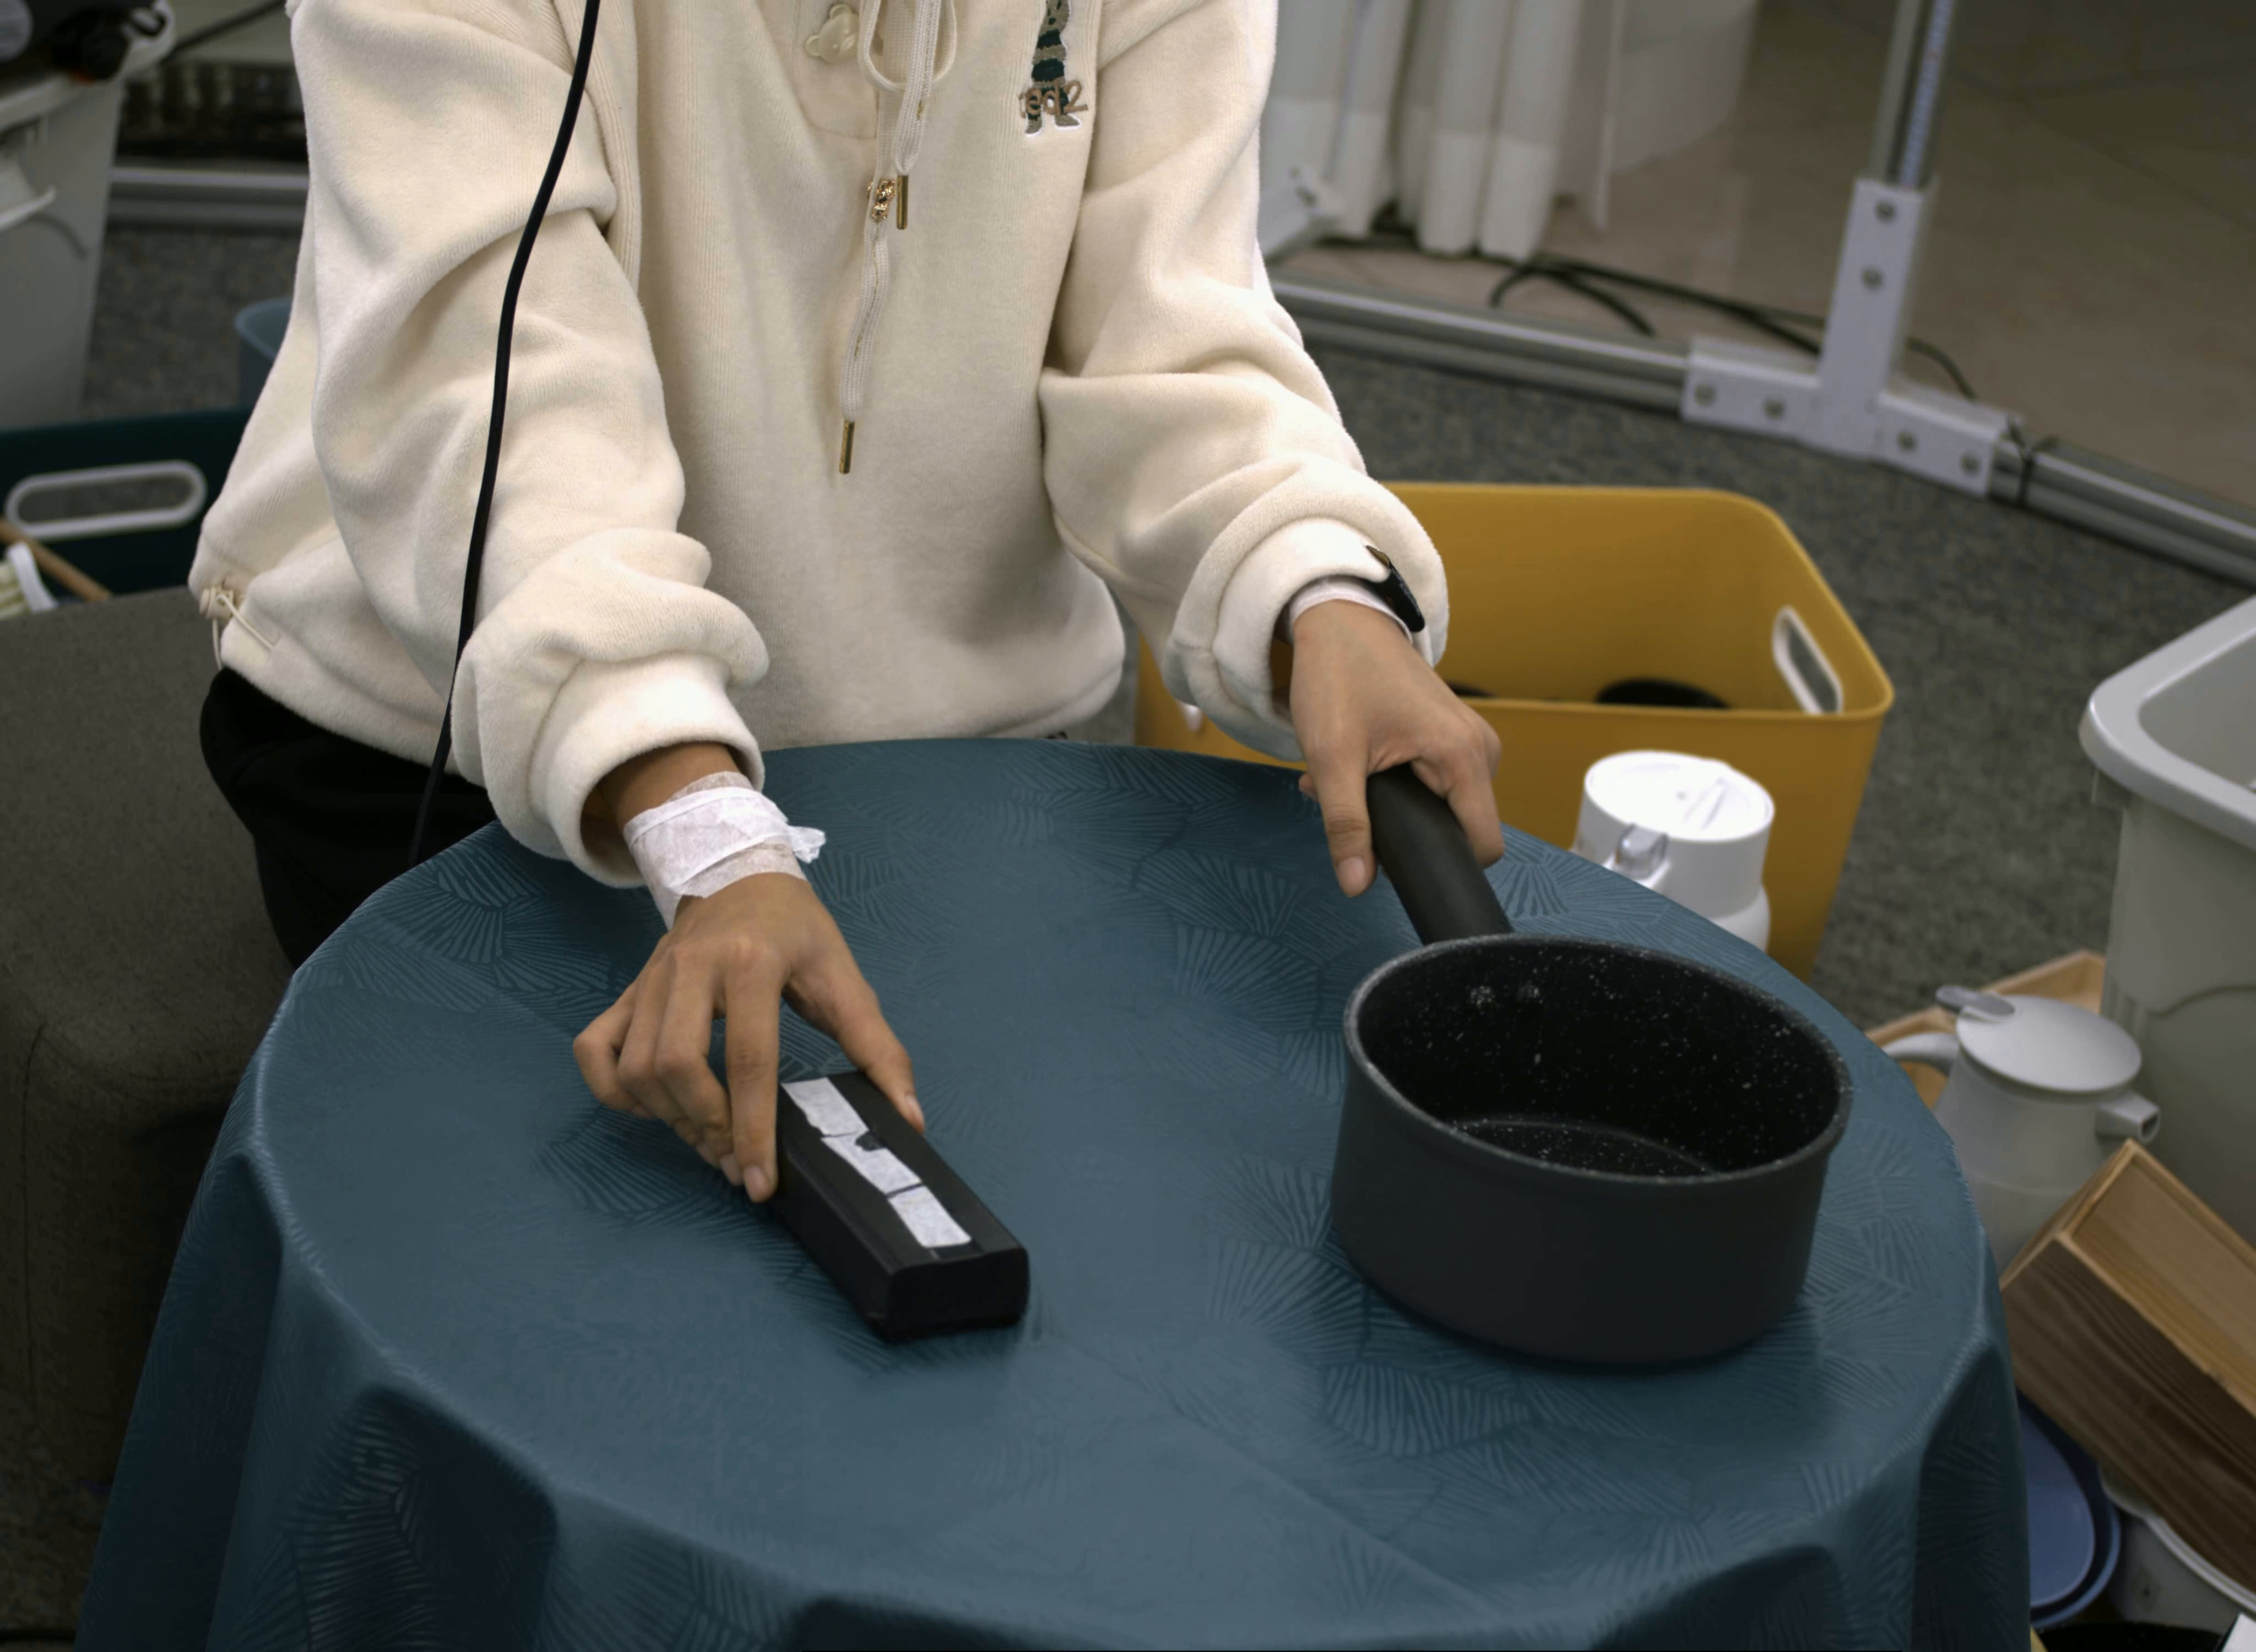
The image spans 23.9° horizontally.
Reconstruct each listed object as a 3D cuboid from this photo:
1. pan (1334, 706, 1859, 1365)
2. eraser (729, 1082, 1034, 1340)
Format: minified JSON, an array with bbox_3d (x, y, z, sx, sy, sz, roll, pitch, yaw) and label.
[{"bbox_3d":[0.133,0.069,1.846,0.171,0.086,0.331,0,28,-16],"label":"pan"},{"bbox_3d":[-0.082,0.126,1.749,0.053,0.030,0.126,-4,27,-29],"label":"eraser"}]
